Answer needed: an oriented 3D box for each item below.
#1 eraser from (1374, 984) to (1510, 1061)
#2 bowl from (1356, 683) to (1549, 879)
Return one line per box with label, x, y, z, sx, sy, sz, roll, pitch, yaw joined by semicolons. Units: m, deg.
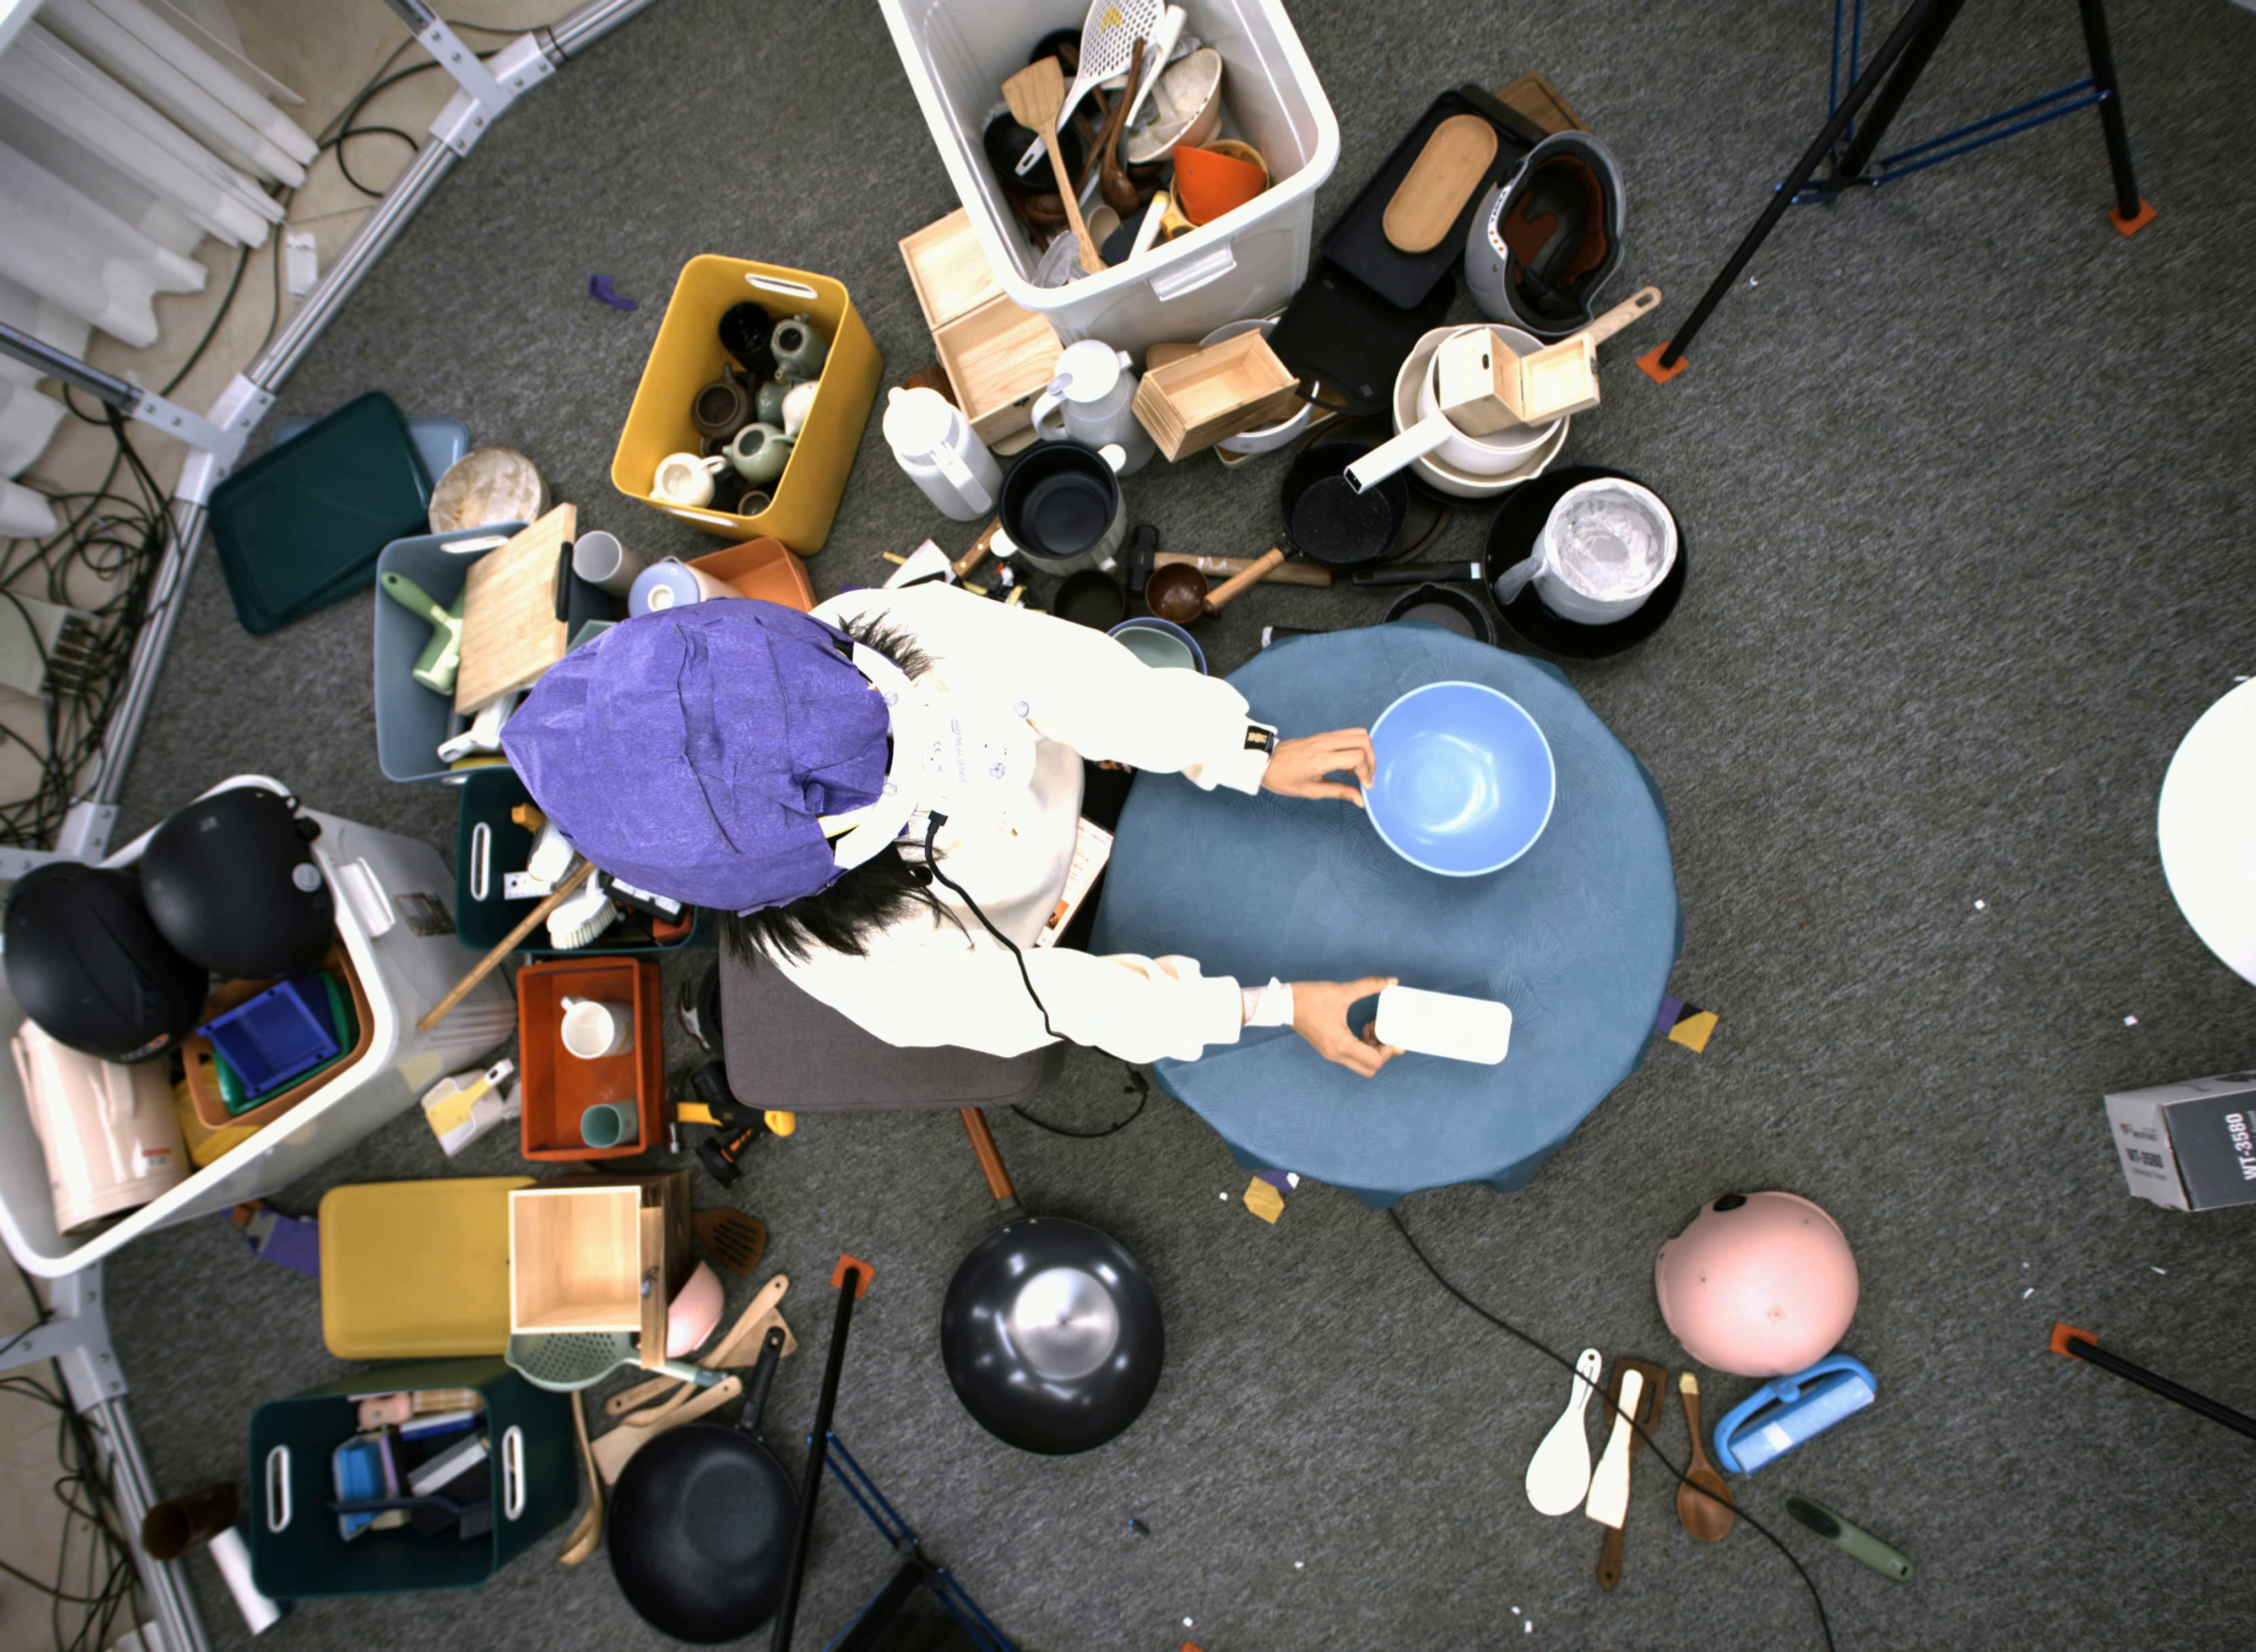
eraser;0.315;0.193;1.384;0.131;0.034;0.063;8;96;16
bowl;0.317;-0.043;1.399;0.196;0.096;0.195;0;87;-6
